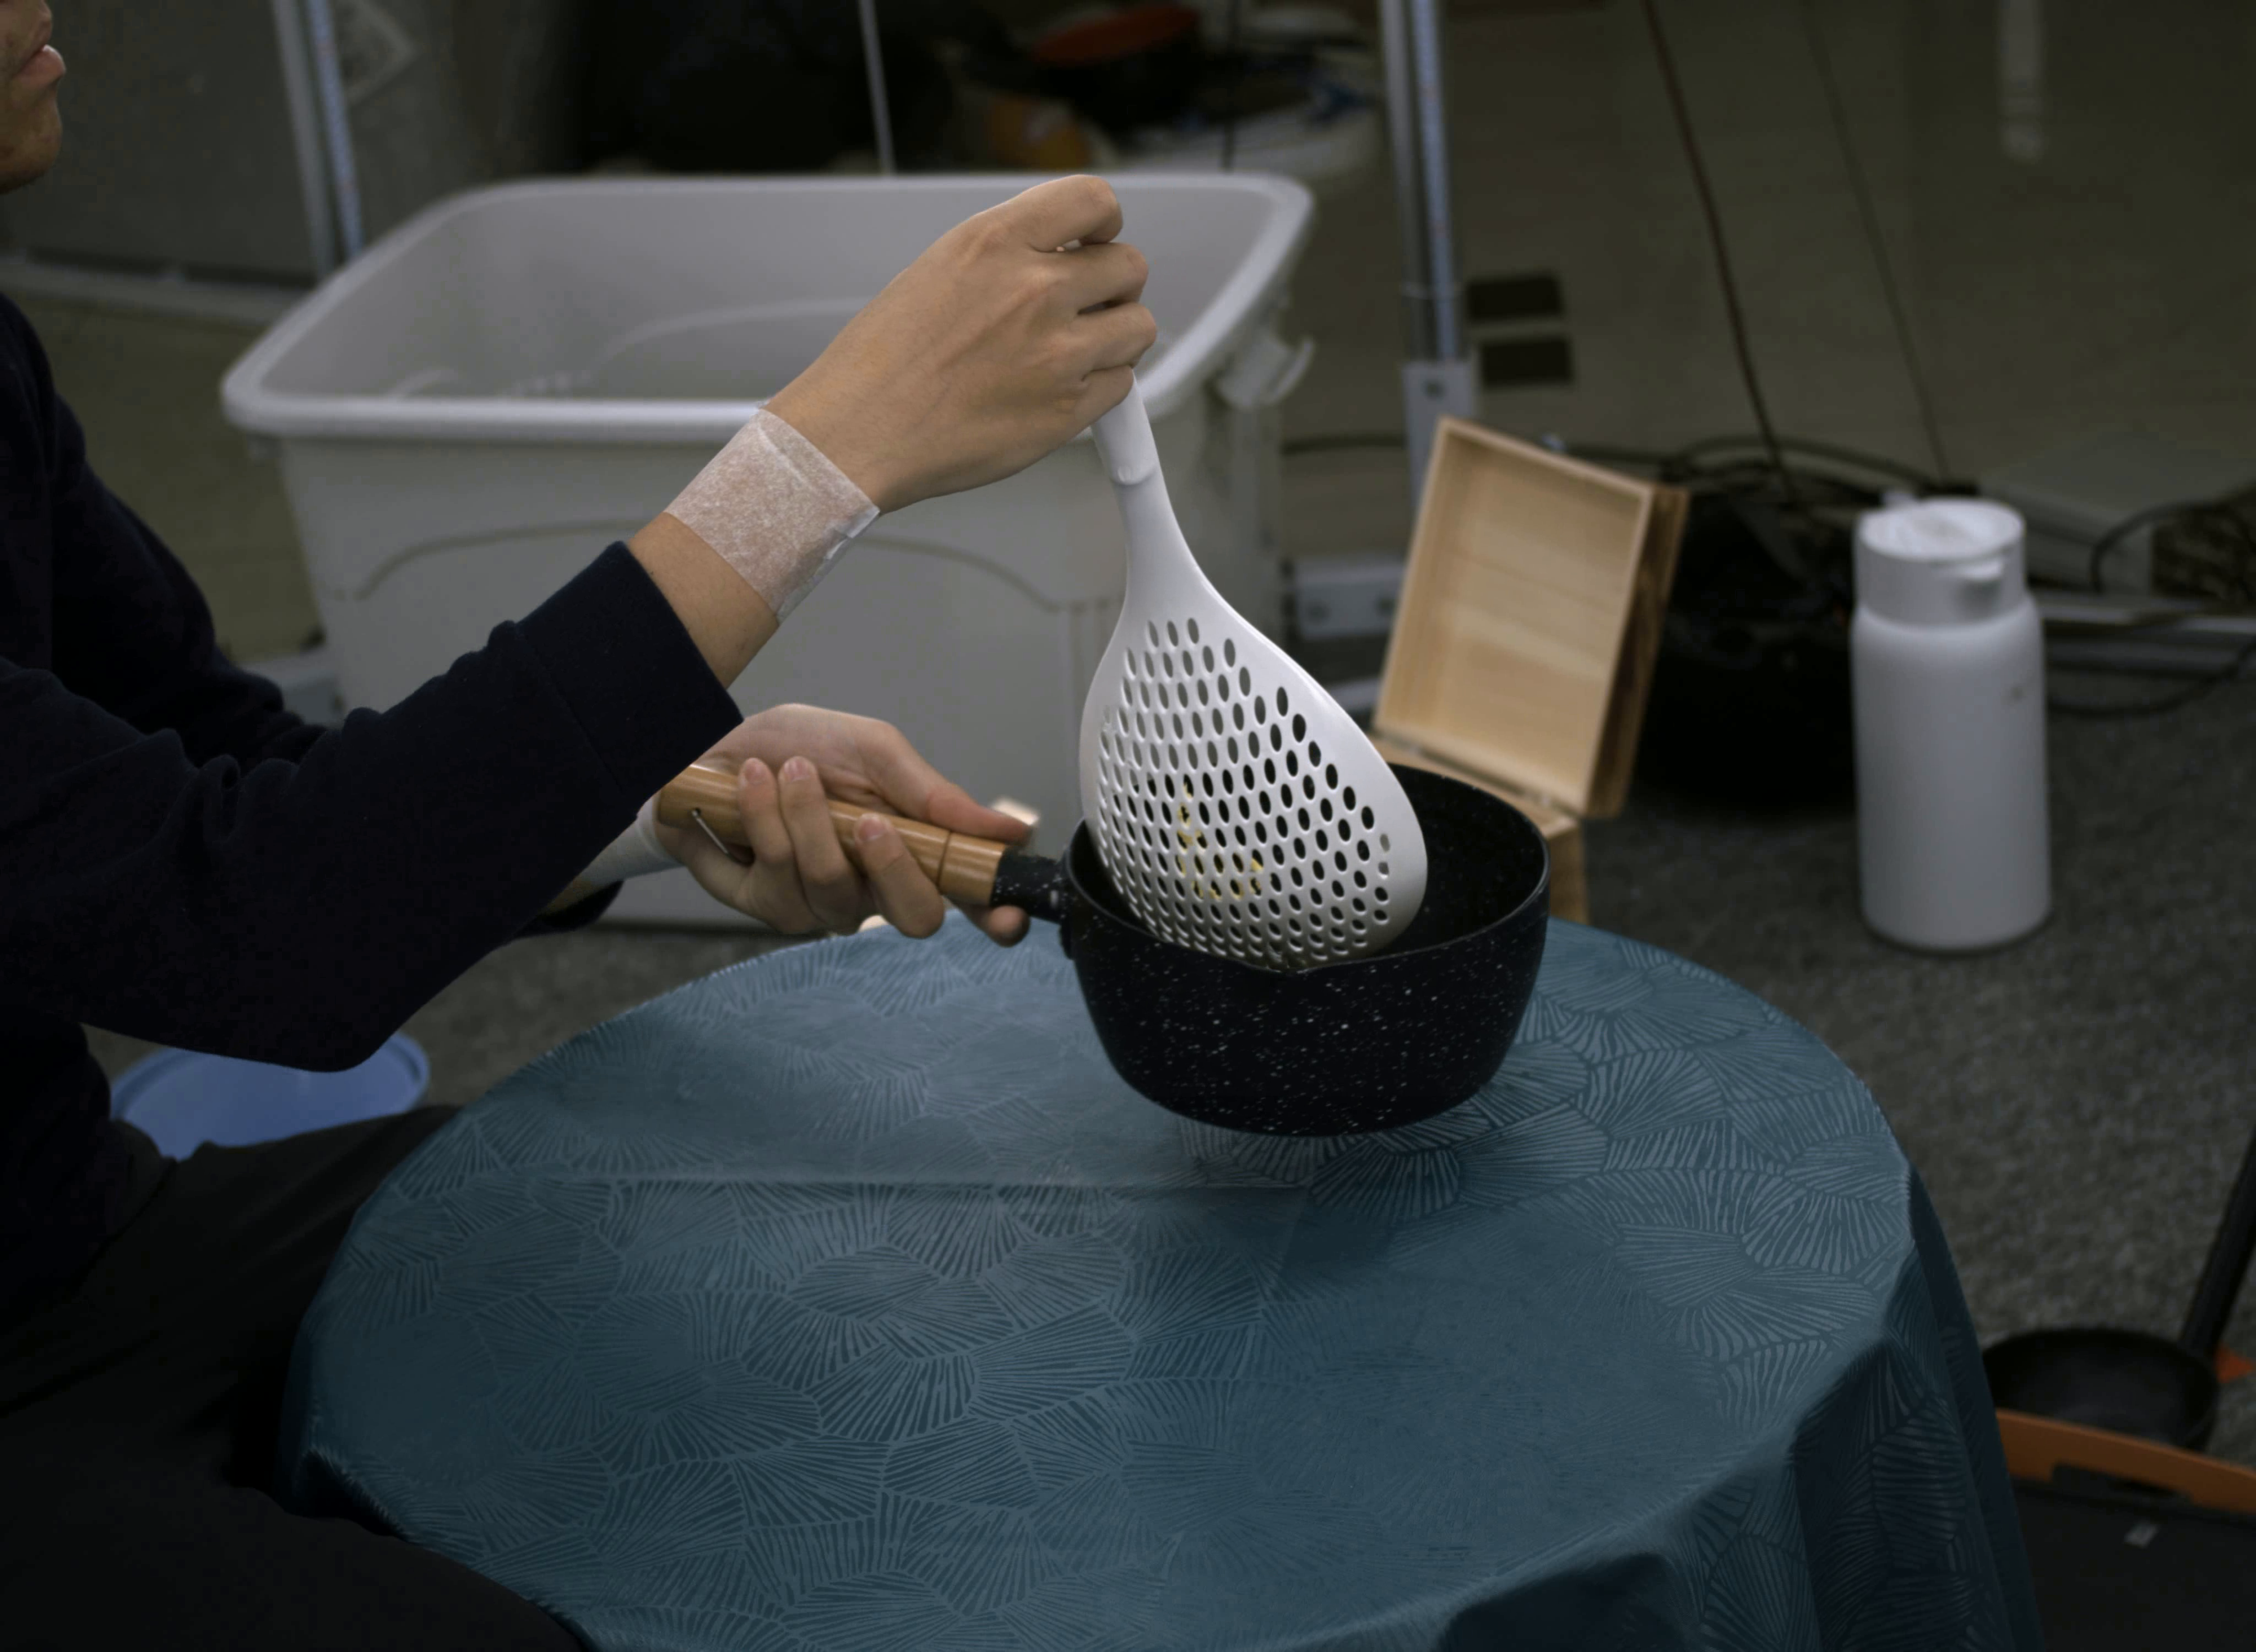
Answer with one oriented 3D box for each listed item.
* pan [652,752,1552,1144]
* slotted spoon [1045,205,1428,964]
[{"bbox_3d":[-0.012,0.034,2.149,0.342,0.110,0.204,4,26,5],"label":"pan"},{"bbox_3d":[0.015,-0.081,2.068,0.136,0.354,0.049,-1,33,22],"label":"slotted spoon"}]
